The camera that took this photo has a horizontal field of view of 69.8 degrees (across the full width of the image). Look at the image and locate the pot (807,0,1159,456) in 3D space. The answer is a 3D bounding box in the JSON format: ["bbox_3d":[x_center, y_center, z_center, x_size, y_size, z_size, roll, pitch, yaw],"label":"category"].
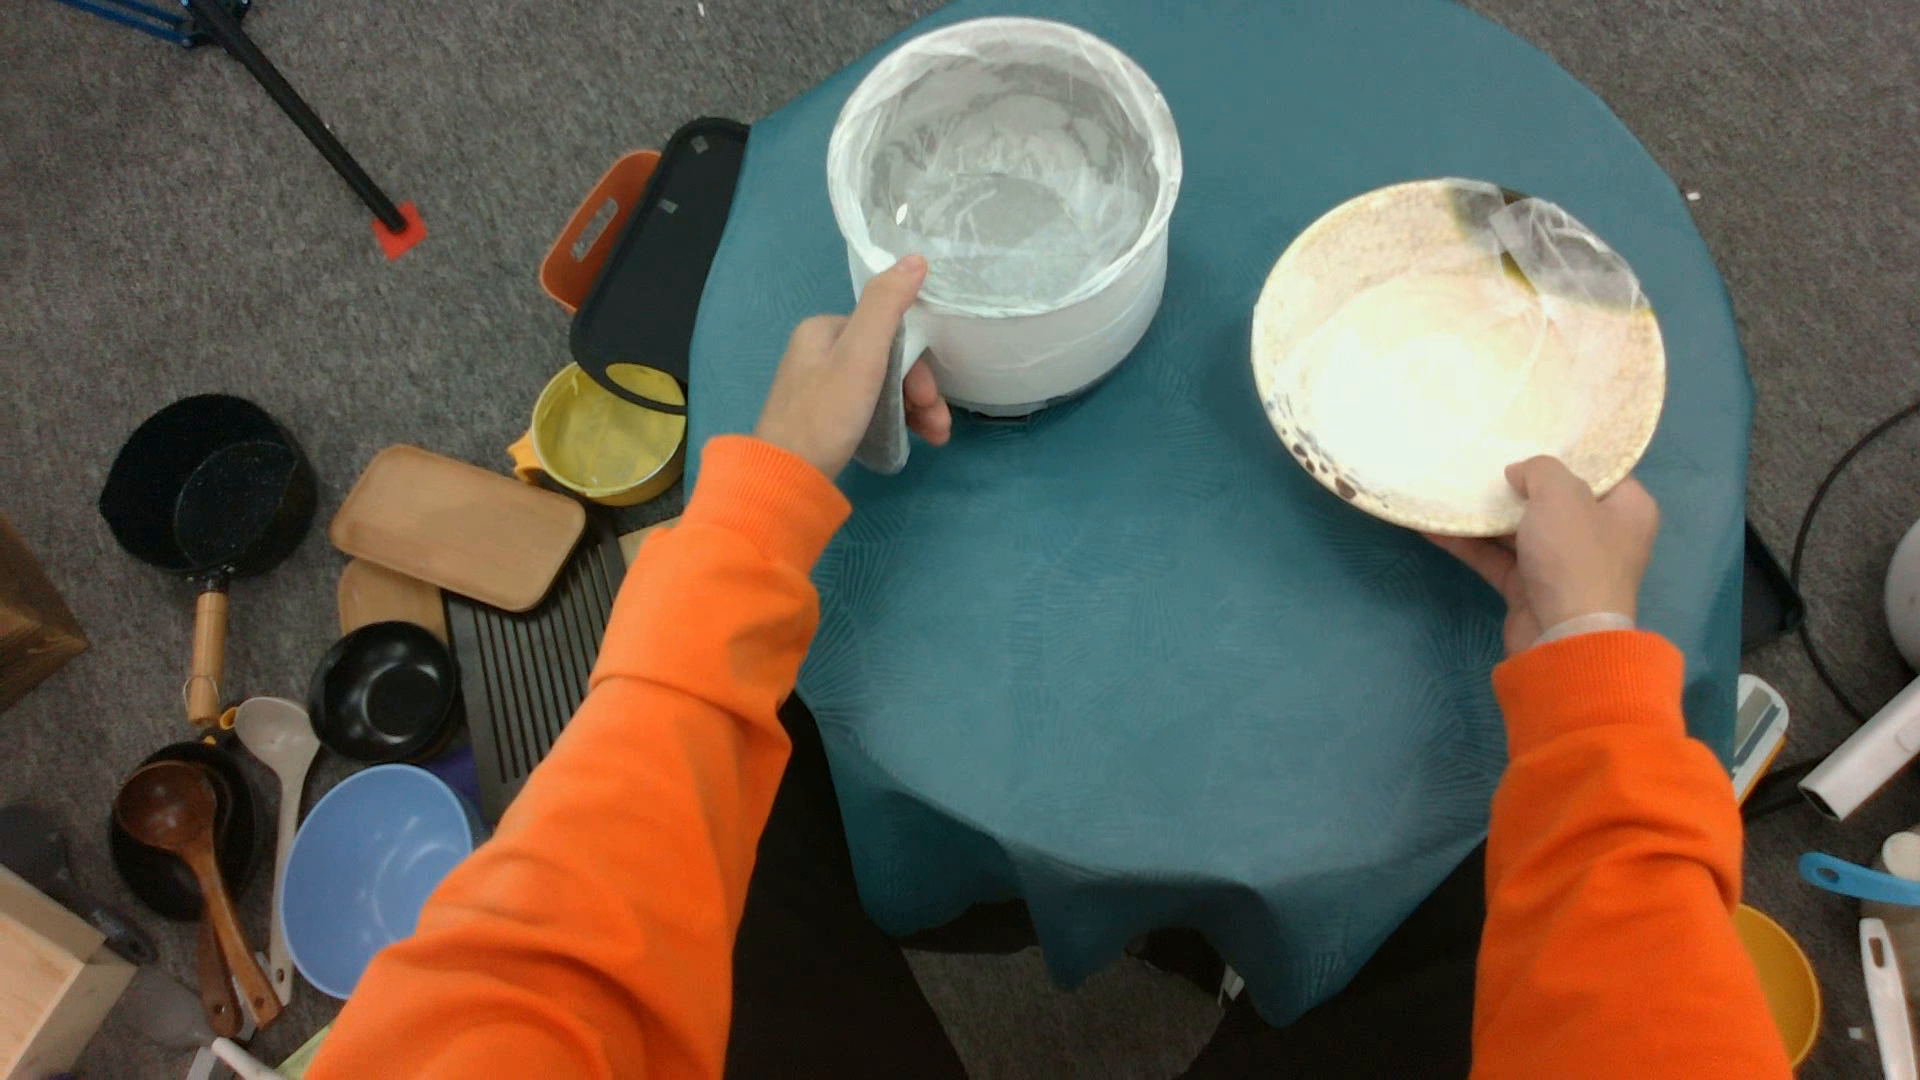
[{"bbox_3d":[0.000,-0.157,0.738,0.179,0.136,0.234,29,74,13],"label":"pot"}]

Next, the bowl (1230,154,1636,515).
[{"bbox_3d":[0.243,-0.099,0.739,0.204,0.078,0.204,-1,72,3],"label":"bowl"}]
